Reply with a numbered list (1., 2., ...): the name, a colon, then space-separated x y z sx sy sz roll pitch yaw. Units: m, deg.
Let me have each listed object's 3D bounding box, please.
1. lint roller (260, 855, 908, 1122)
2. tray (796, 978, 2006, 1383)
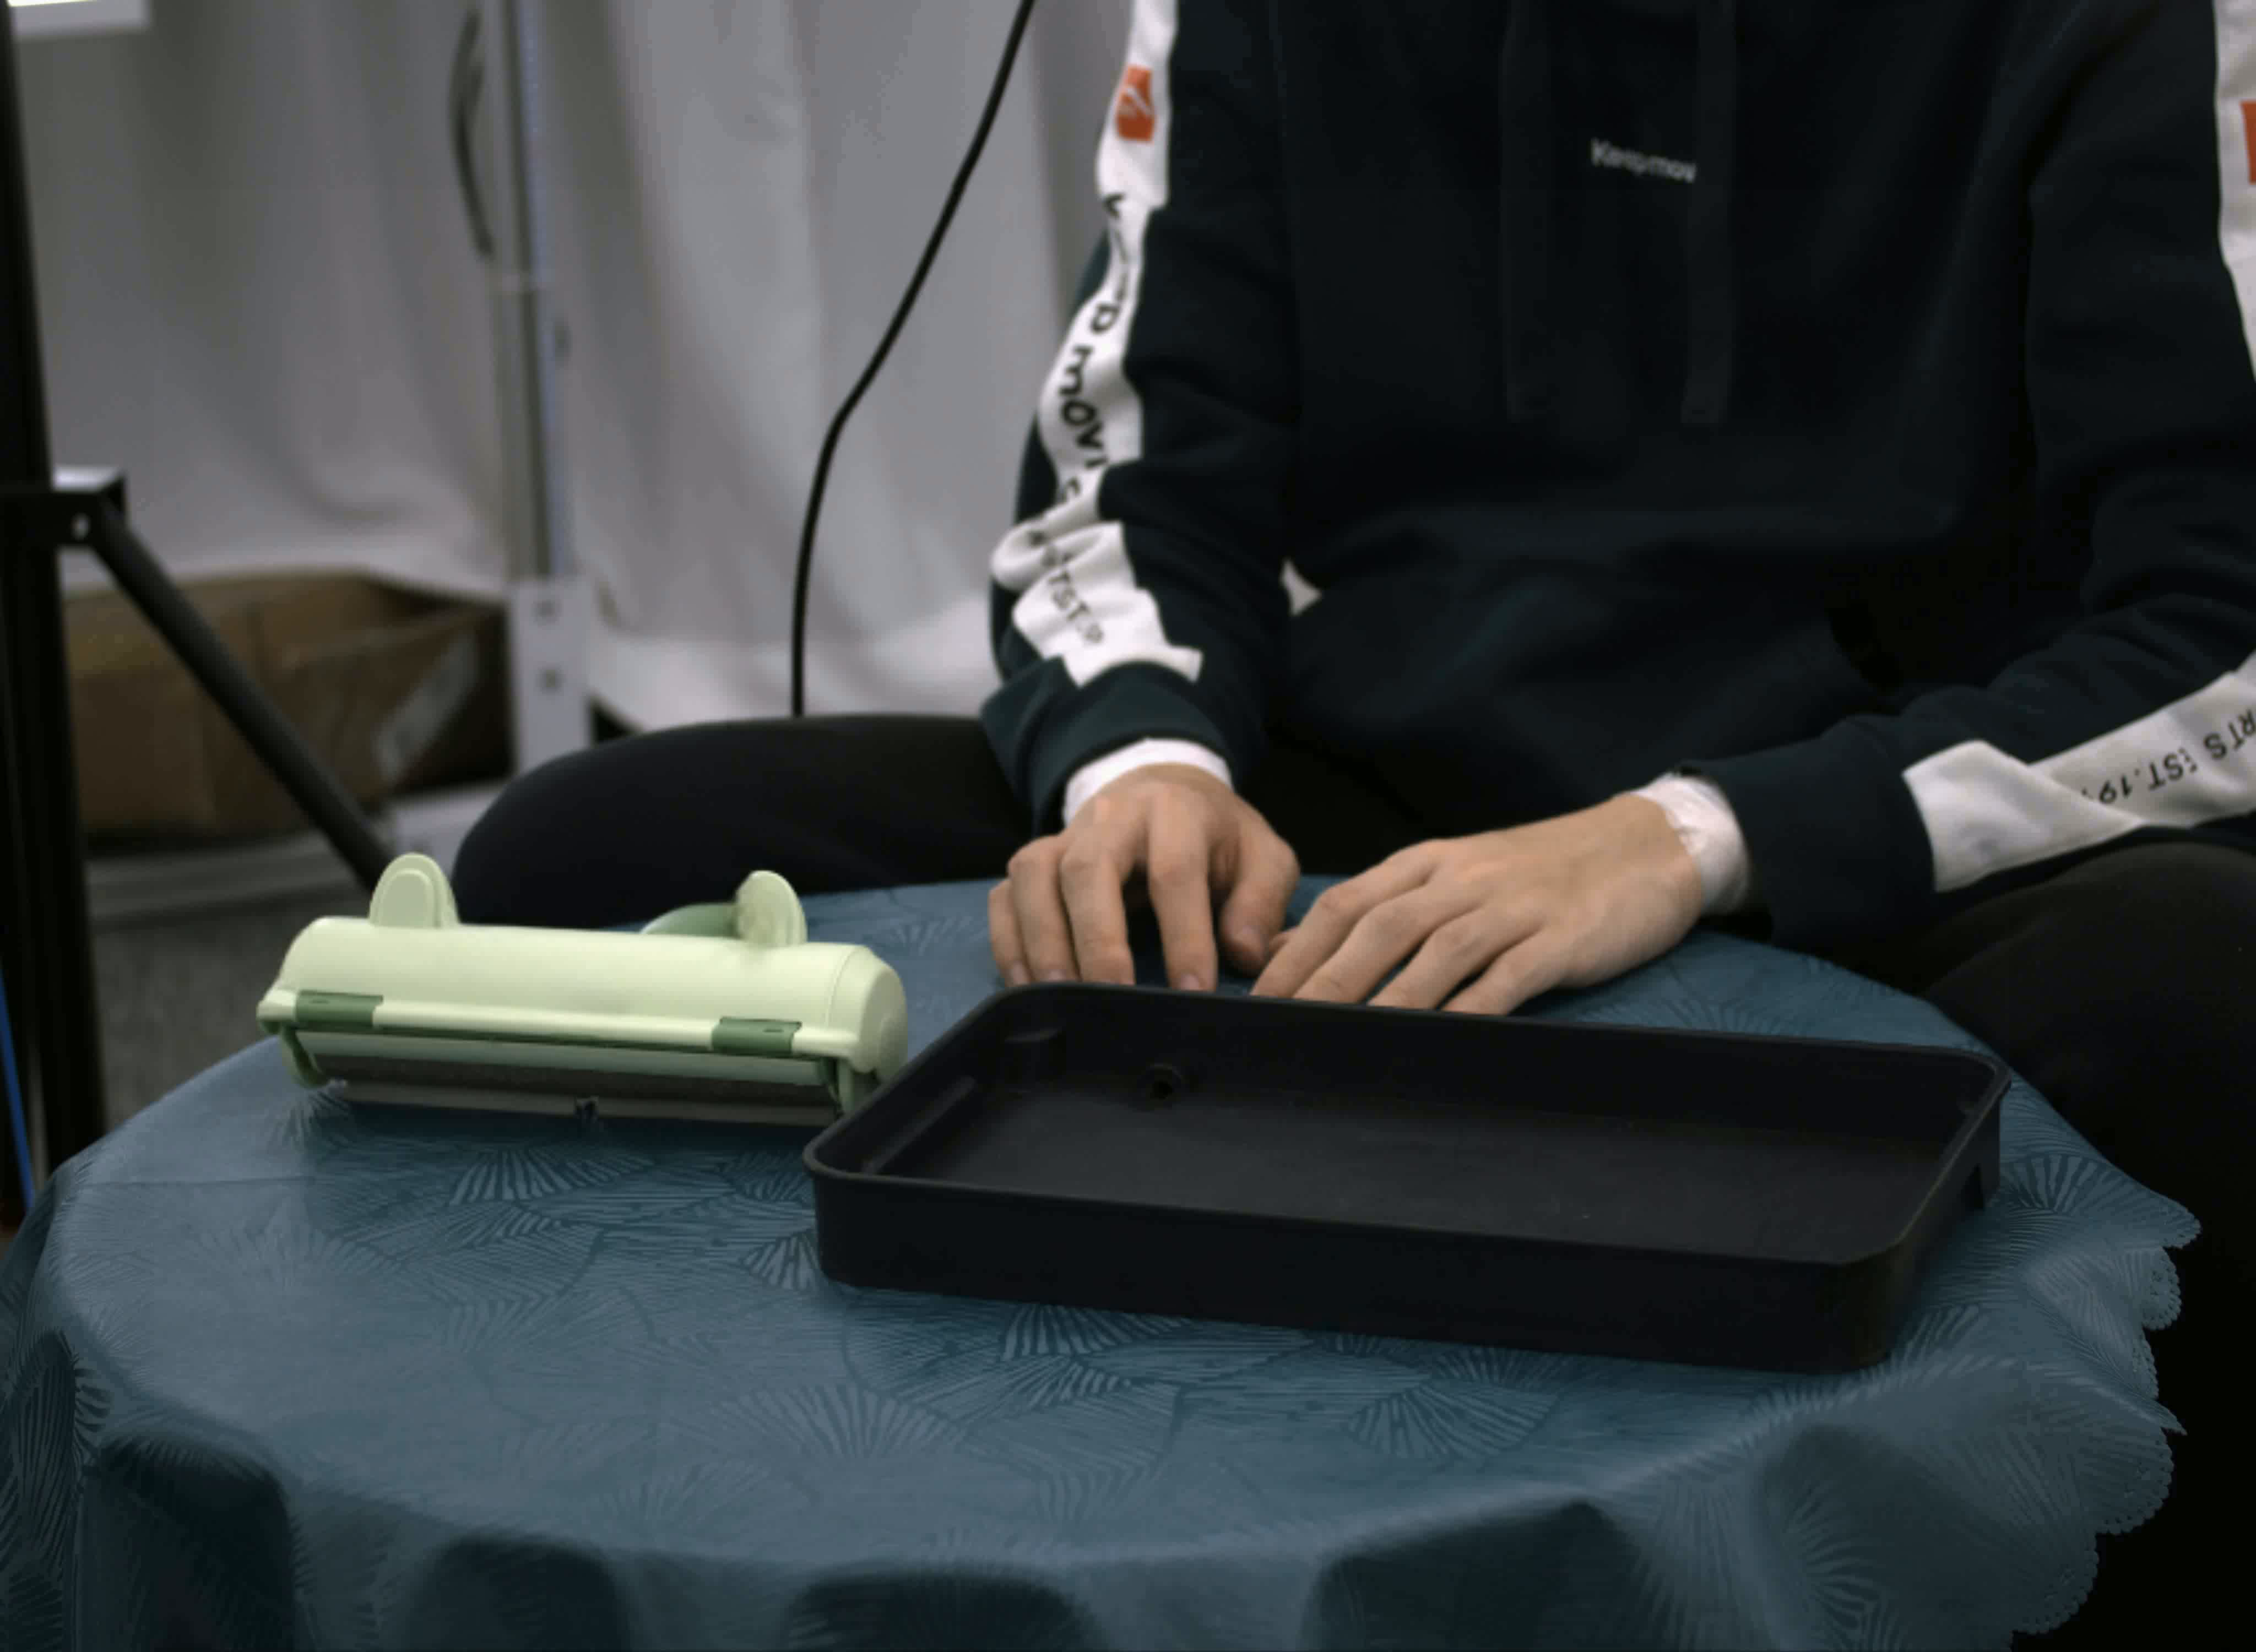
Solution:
1. lint roller: -0.152 0.035 1.696 0.200 0.082 0.182 2 20 18
2. tray: 0.080 0.098 1.515 0.322 0.037 0.182 4 17 22
